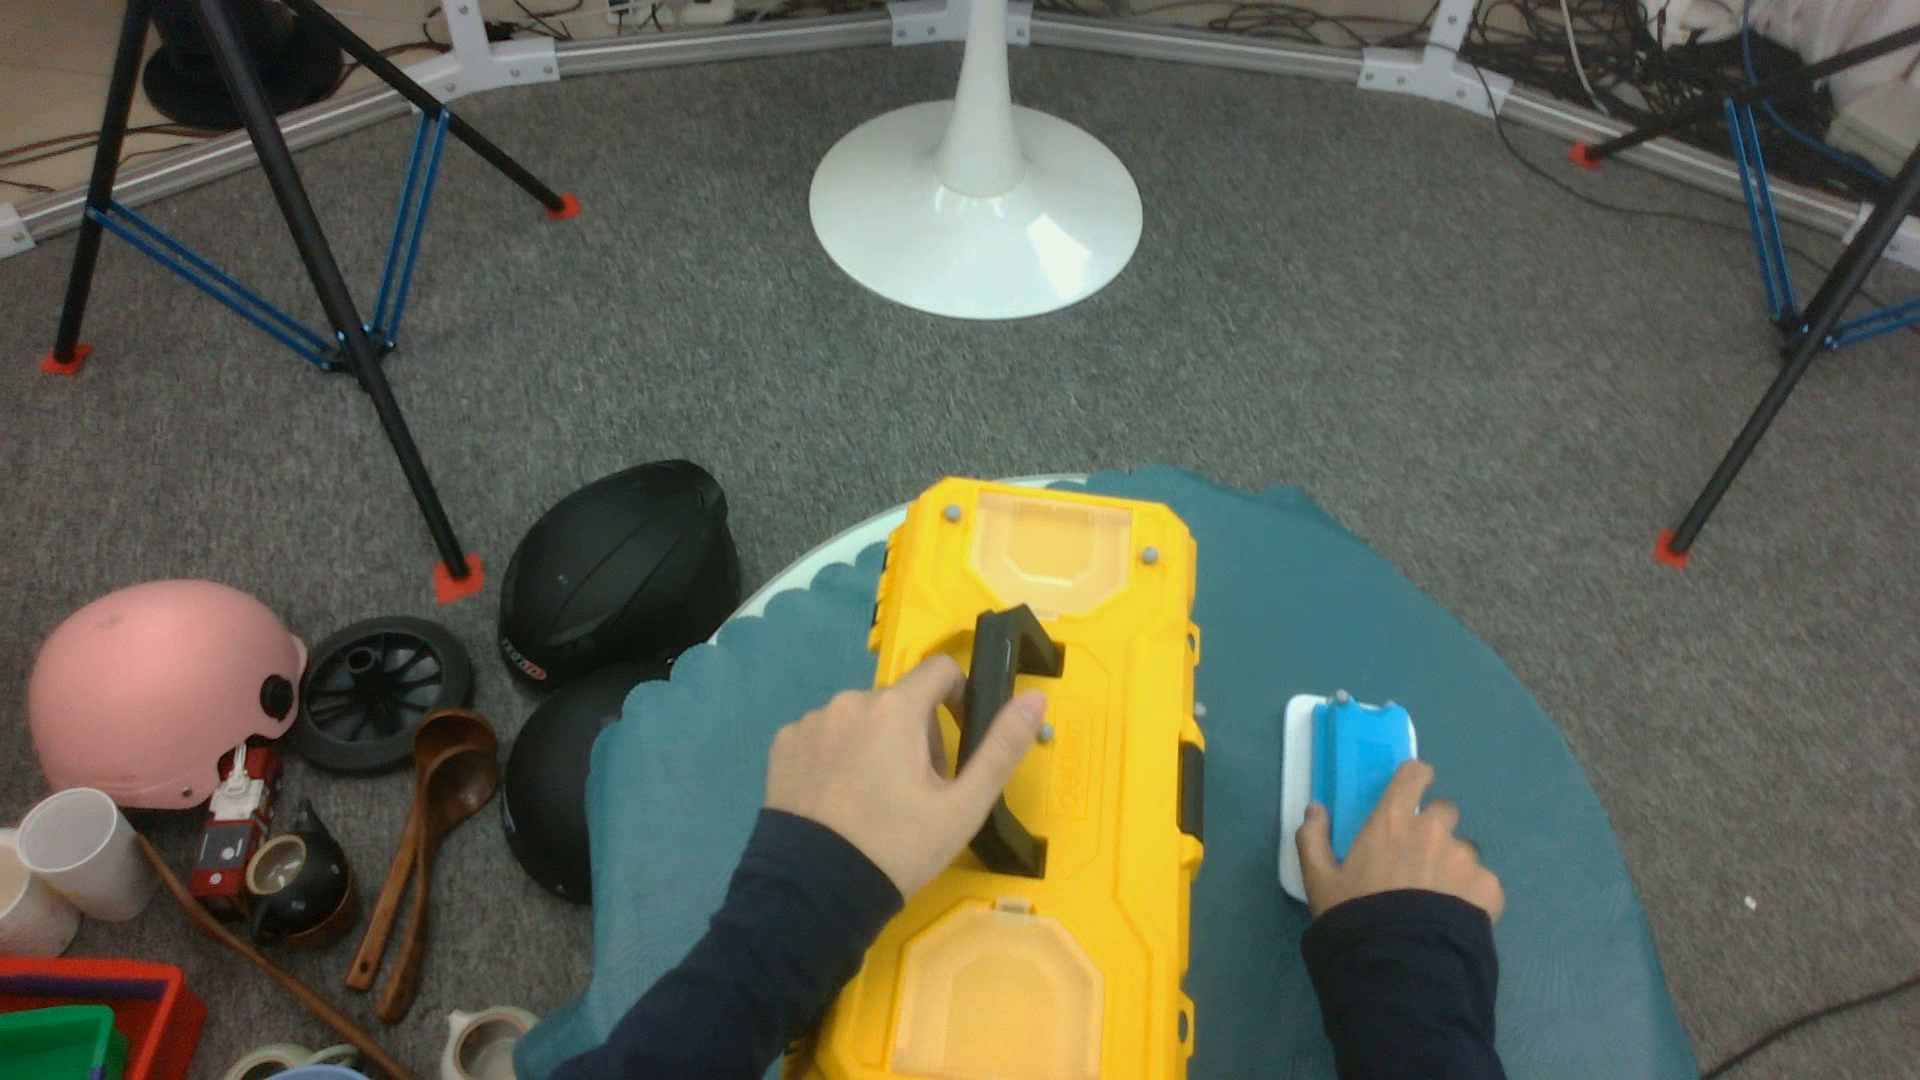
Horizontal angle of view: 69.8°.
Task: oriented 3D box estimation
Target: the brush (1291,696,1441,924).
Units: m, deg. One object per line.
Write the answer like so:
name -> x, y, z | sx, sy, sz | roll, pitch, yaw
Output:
brush -> 0.241, 0.151, 0.811 | 0.084, 0.055, 0.144 | 7, 49, 8

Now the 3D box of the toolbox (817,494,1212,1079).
toolbox -> 0.035, 0.156, 0.725 | 0.181, 0.172, 0.353 | 6, 51, 2
